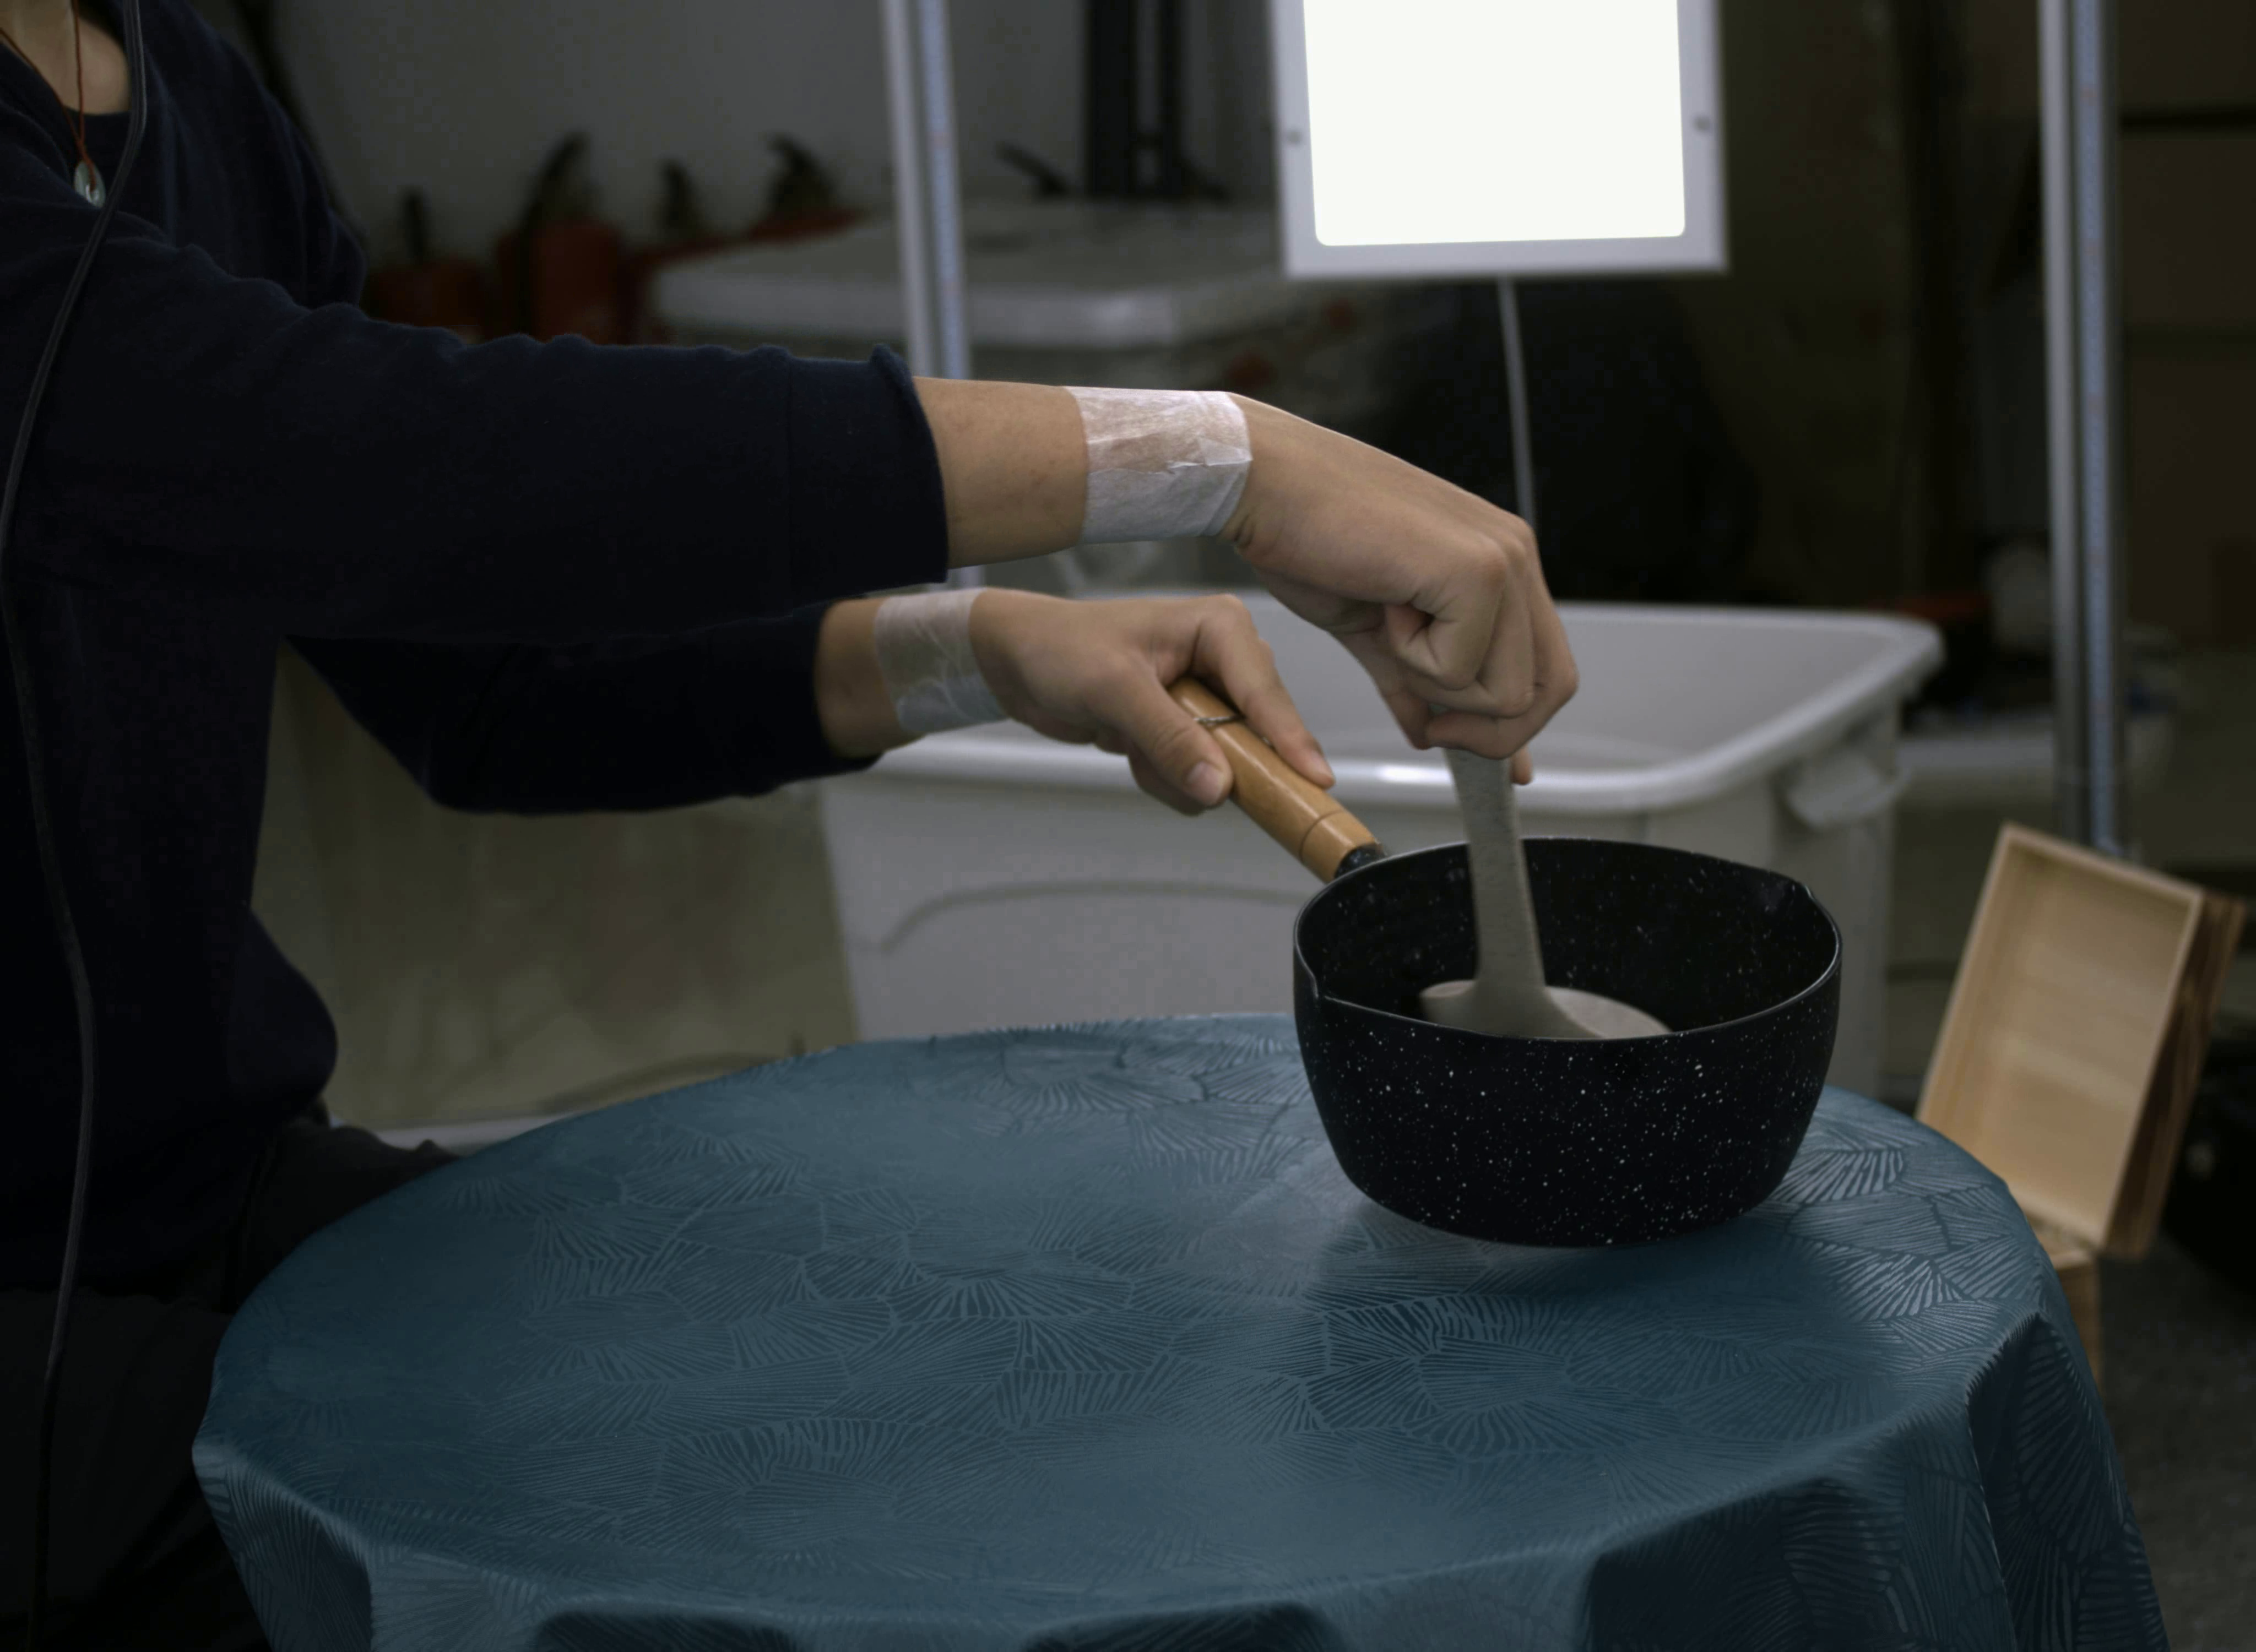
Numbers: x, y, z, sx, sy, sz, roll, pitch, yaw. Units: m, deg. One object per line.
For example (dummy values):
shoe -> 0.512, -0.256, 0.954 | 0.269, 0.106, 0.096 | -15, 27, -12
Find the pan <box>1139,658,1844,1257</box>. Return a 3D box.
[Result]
pan -> 0.103, 0.040, 1.904 | 0.203, 0.109, 0.349 | -15, 26, -30

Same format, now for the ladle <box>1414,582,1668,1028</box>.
ladle -> 0.132, -0.005, 1.808 | 0.091, 0.274, 0.068 | 18, 54, 26
